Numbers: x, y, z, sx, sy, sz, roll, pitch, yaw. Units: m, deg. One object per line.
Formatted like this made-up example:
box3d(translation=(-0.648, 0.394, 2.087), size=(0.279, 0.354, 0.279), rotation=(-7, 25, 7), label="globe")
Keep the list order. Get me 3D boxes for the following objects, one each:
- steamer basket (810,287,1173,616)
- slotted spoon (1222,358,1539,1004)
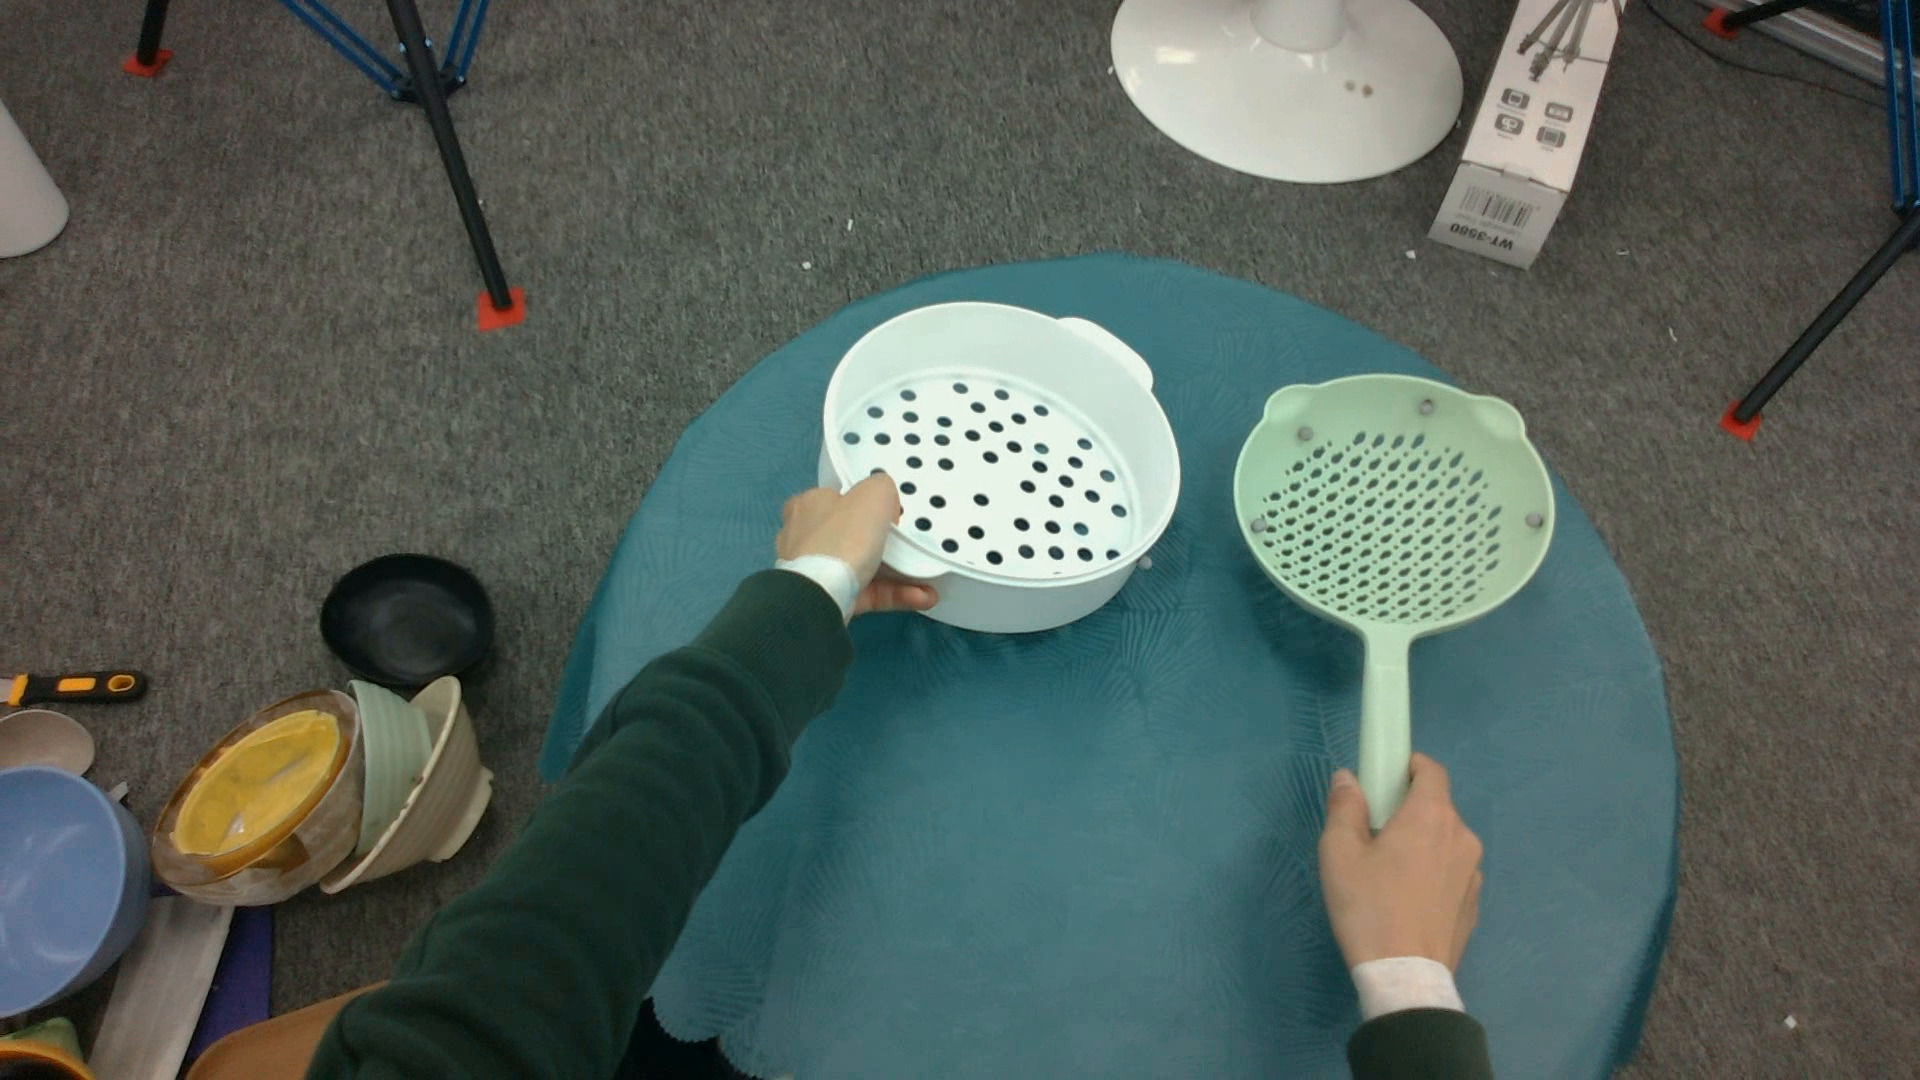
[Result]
box3d(translation=(0.015, -0.050, 0.777), size=(0.202, 0.069, 0.232), rotation=(37, 53, 13), label="steamer basket")
box3d(translation=(0.215, 0.053, 0.717), size=(0.169, 0.075, 0.360), rotation=(4, 50, 11), label="slotted spoon")
